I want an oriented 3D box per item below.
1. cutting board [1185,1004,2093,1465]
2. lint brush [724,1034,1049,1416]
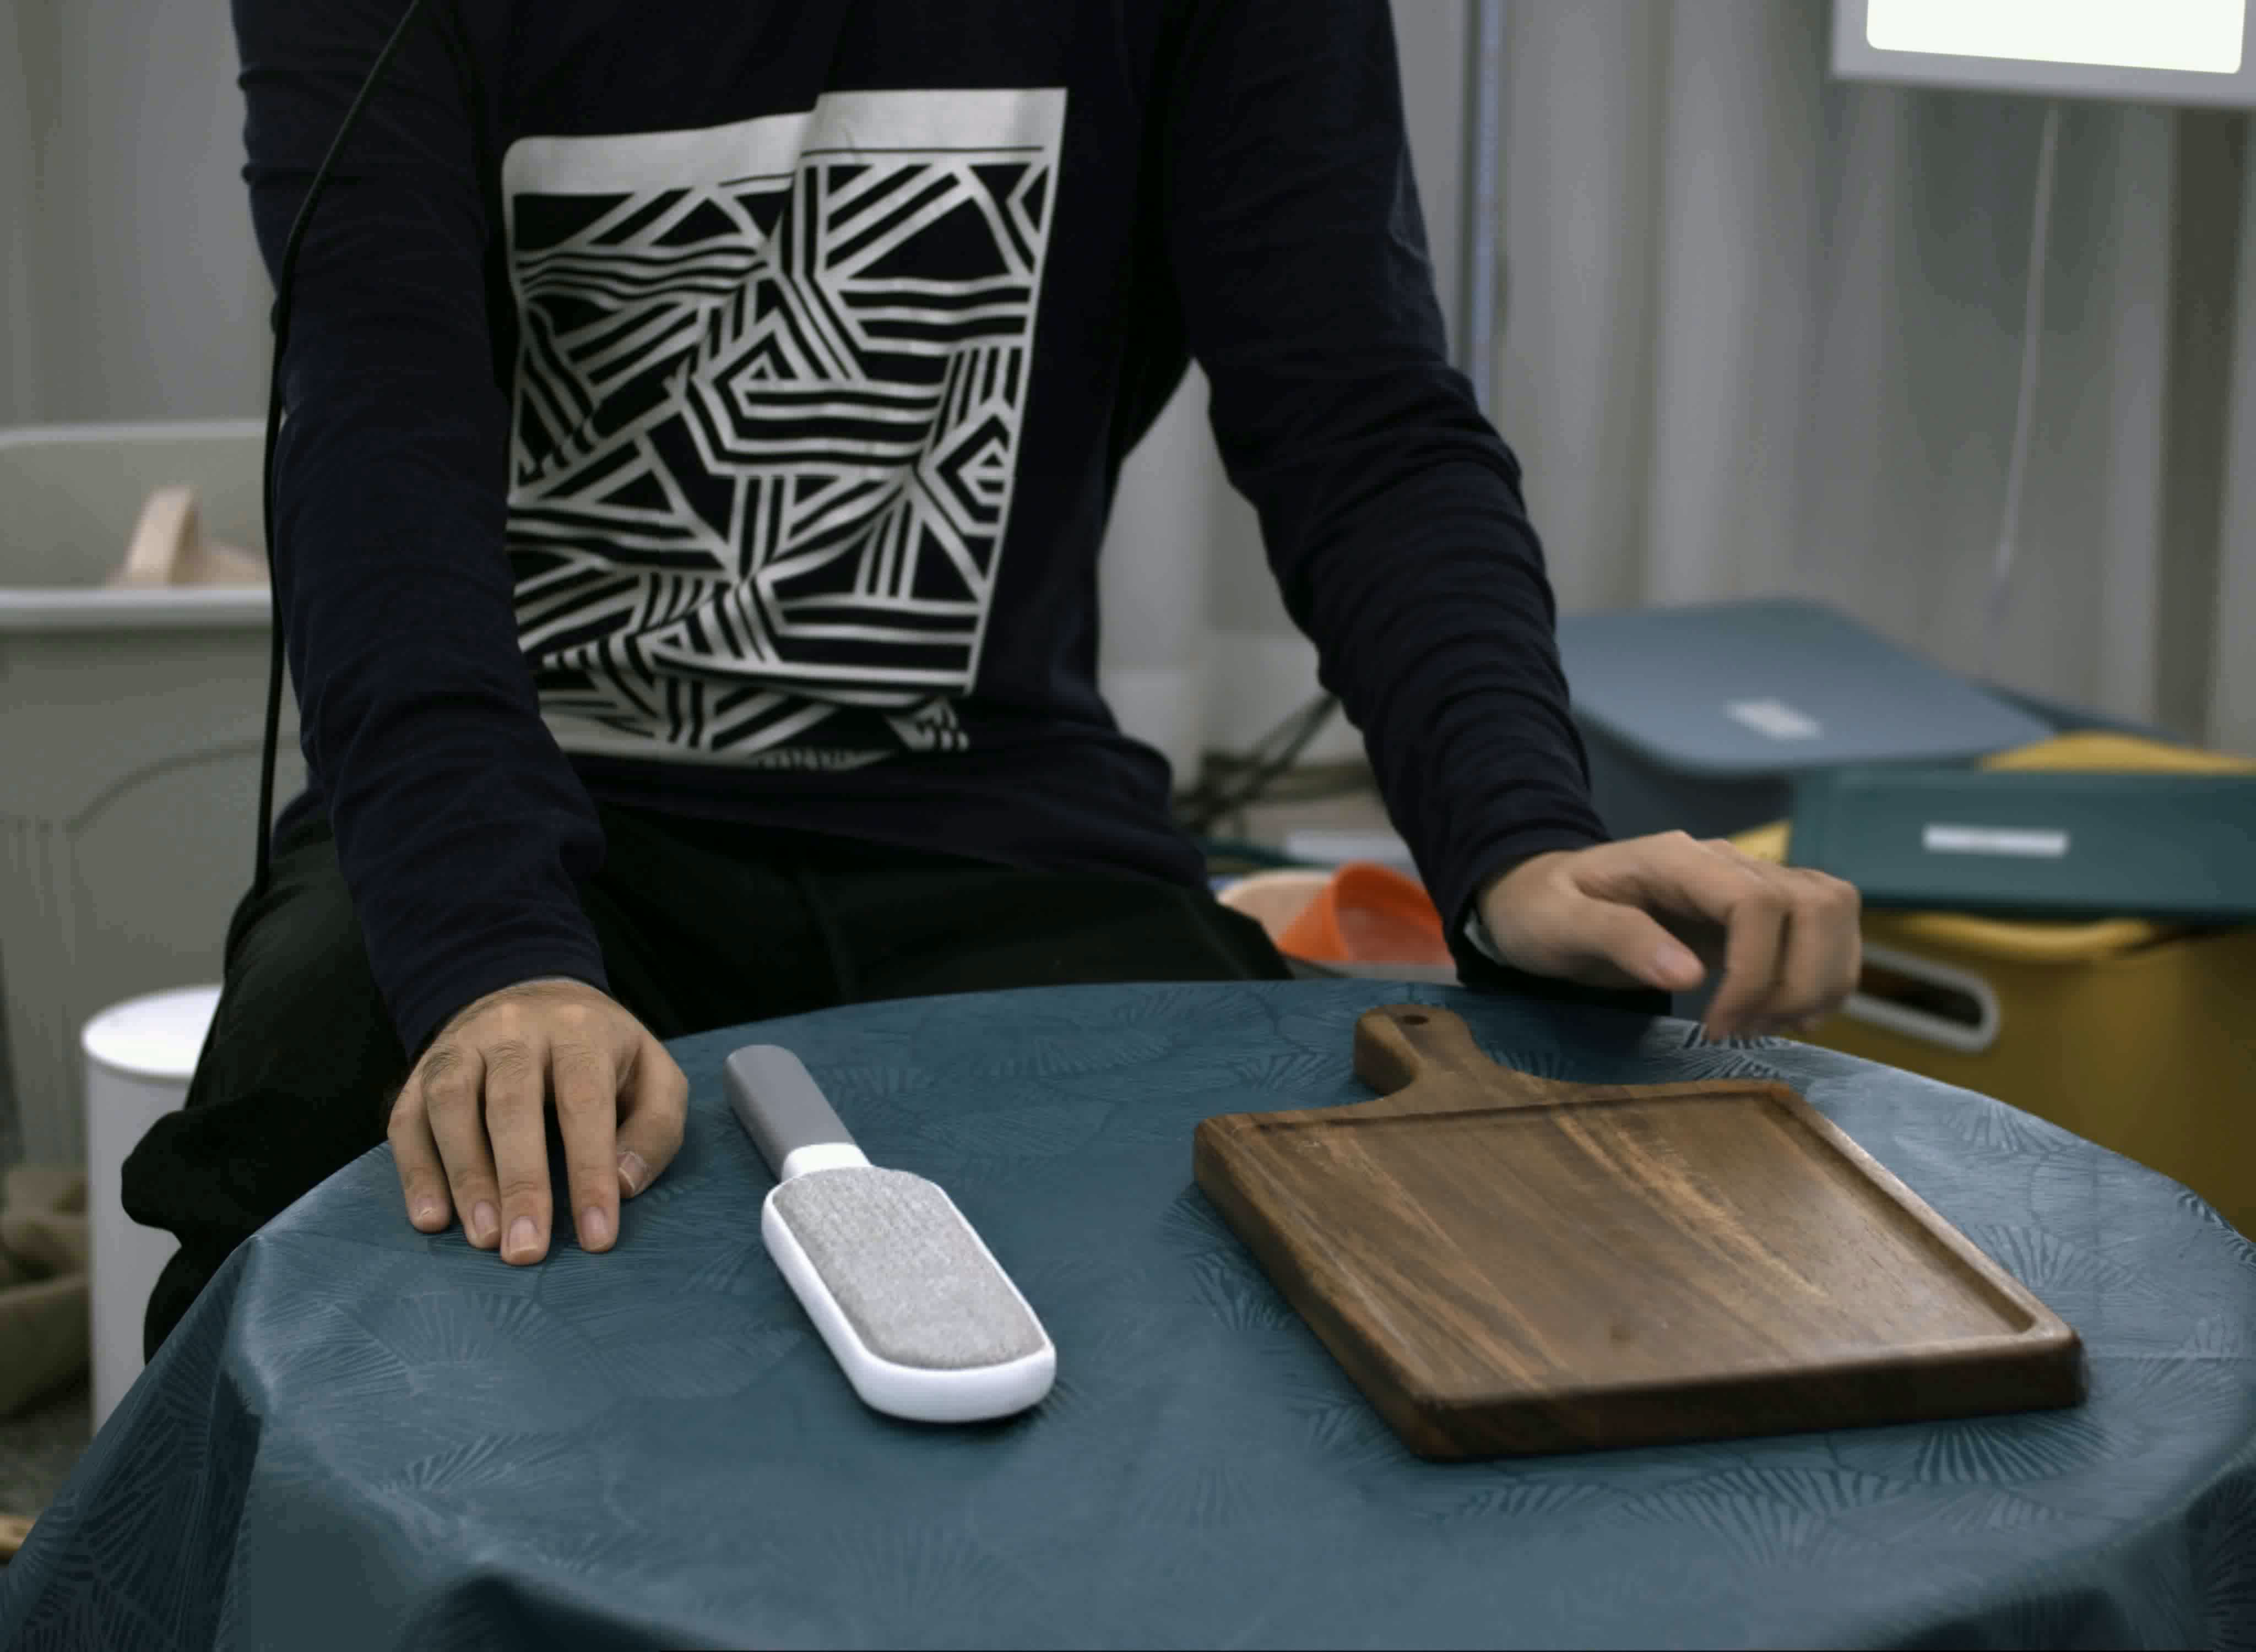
[{"bbox_3d":[0.131,0.113,1.591,0.201,0.023,0.349,-4,15,-14],"label":"cutting board"},{"bbox_3d":[-0.080,0.114,1.566,0.060,0.021,0.306,-9,17,-13],"label":"lint brush"}]
